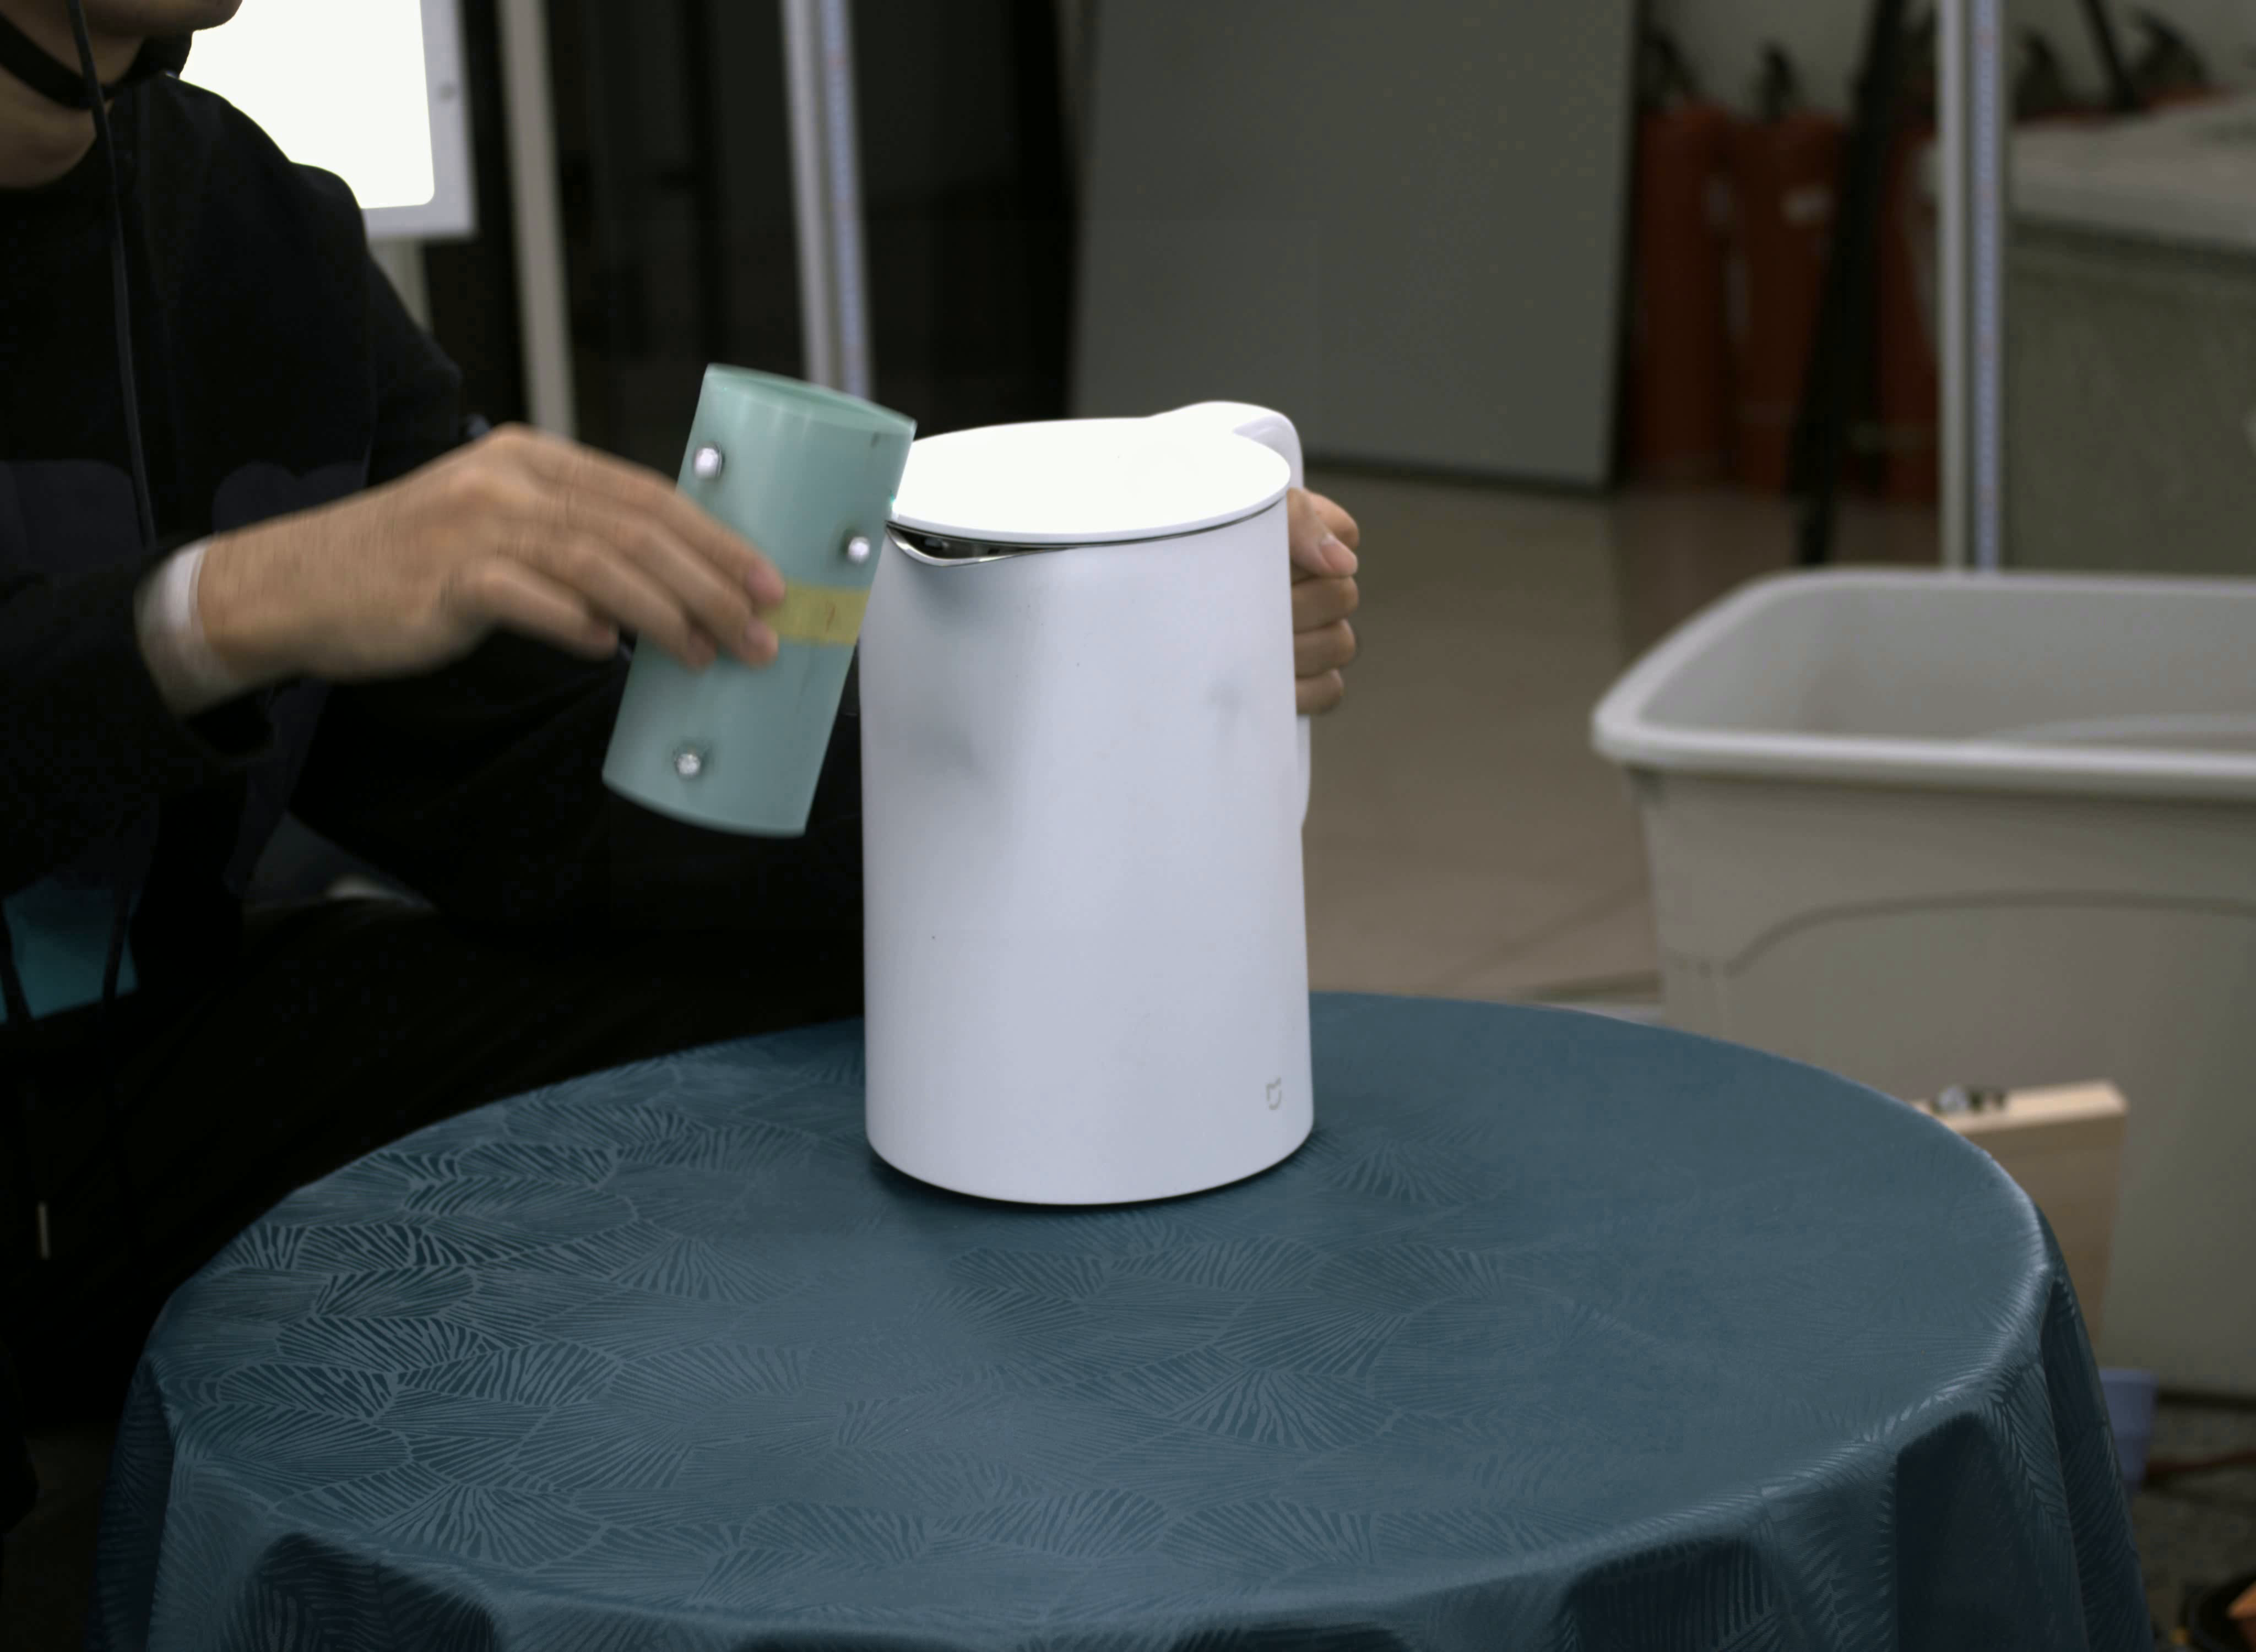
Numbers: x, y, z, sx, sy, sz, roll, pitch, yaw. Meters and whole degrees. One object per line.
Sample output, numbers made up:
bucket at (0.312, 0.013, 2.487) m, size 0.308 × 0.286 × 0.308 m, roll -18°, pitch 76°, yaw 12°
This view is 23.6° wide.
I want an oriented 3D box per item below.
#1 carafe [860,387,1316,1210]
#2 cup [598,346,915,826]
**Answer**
carafe at (0.000, -0.016, 1.808) m, size 0.153 × 0.242 × 0.210 m, roll 10°, pitch 22°, yaw 32°
cup at (-0.114, -0.073, 1.644) m, size 0.066 × 0.134 × 0.067 m, roll 15°, pitch 8°, yaw -3°
